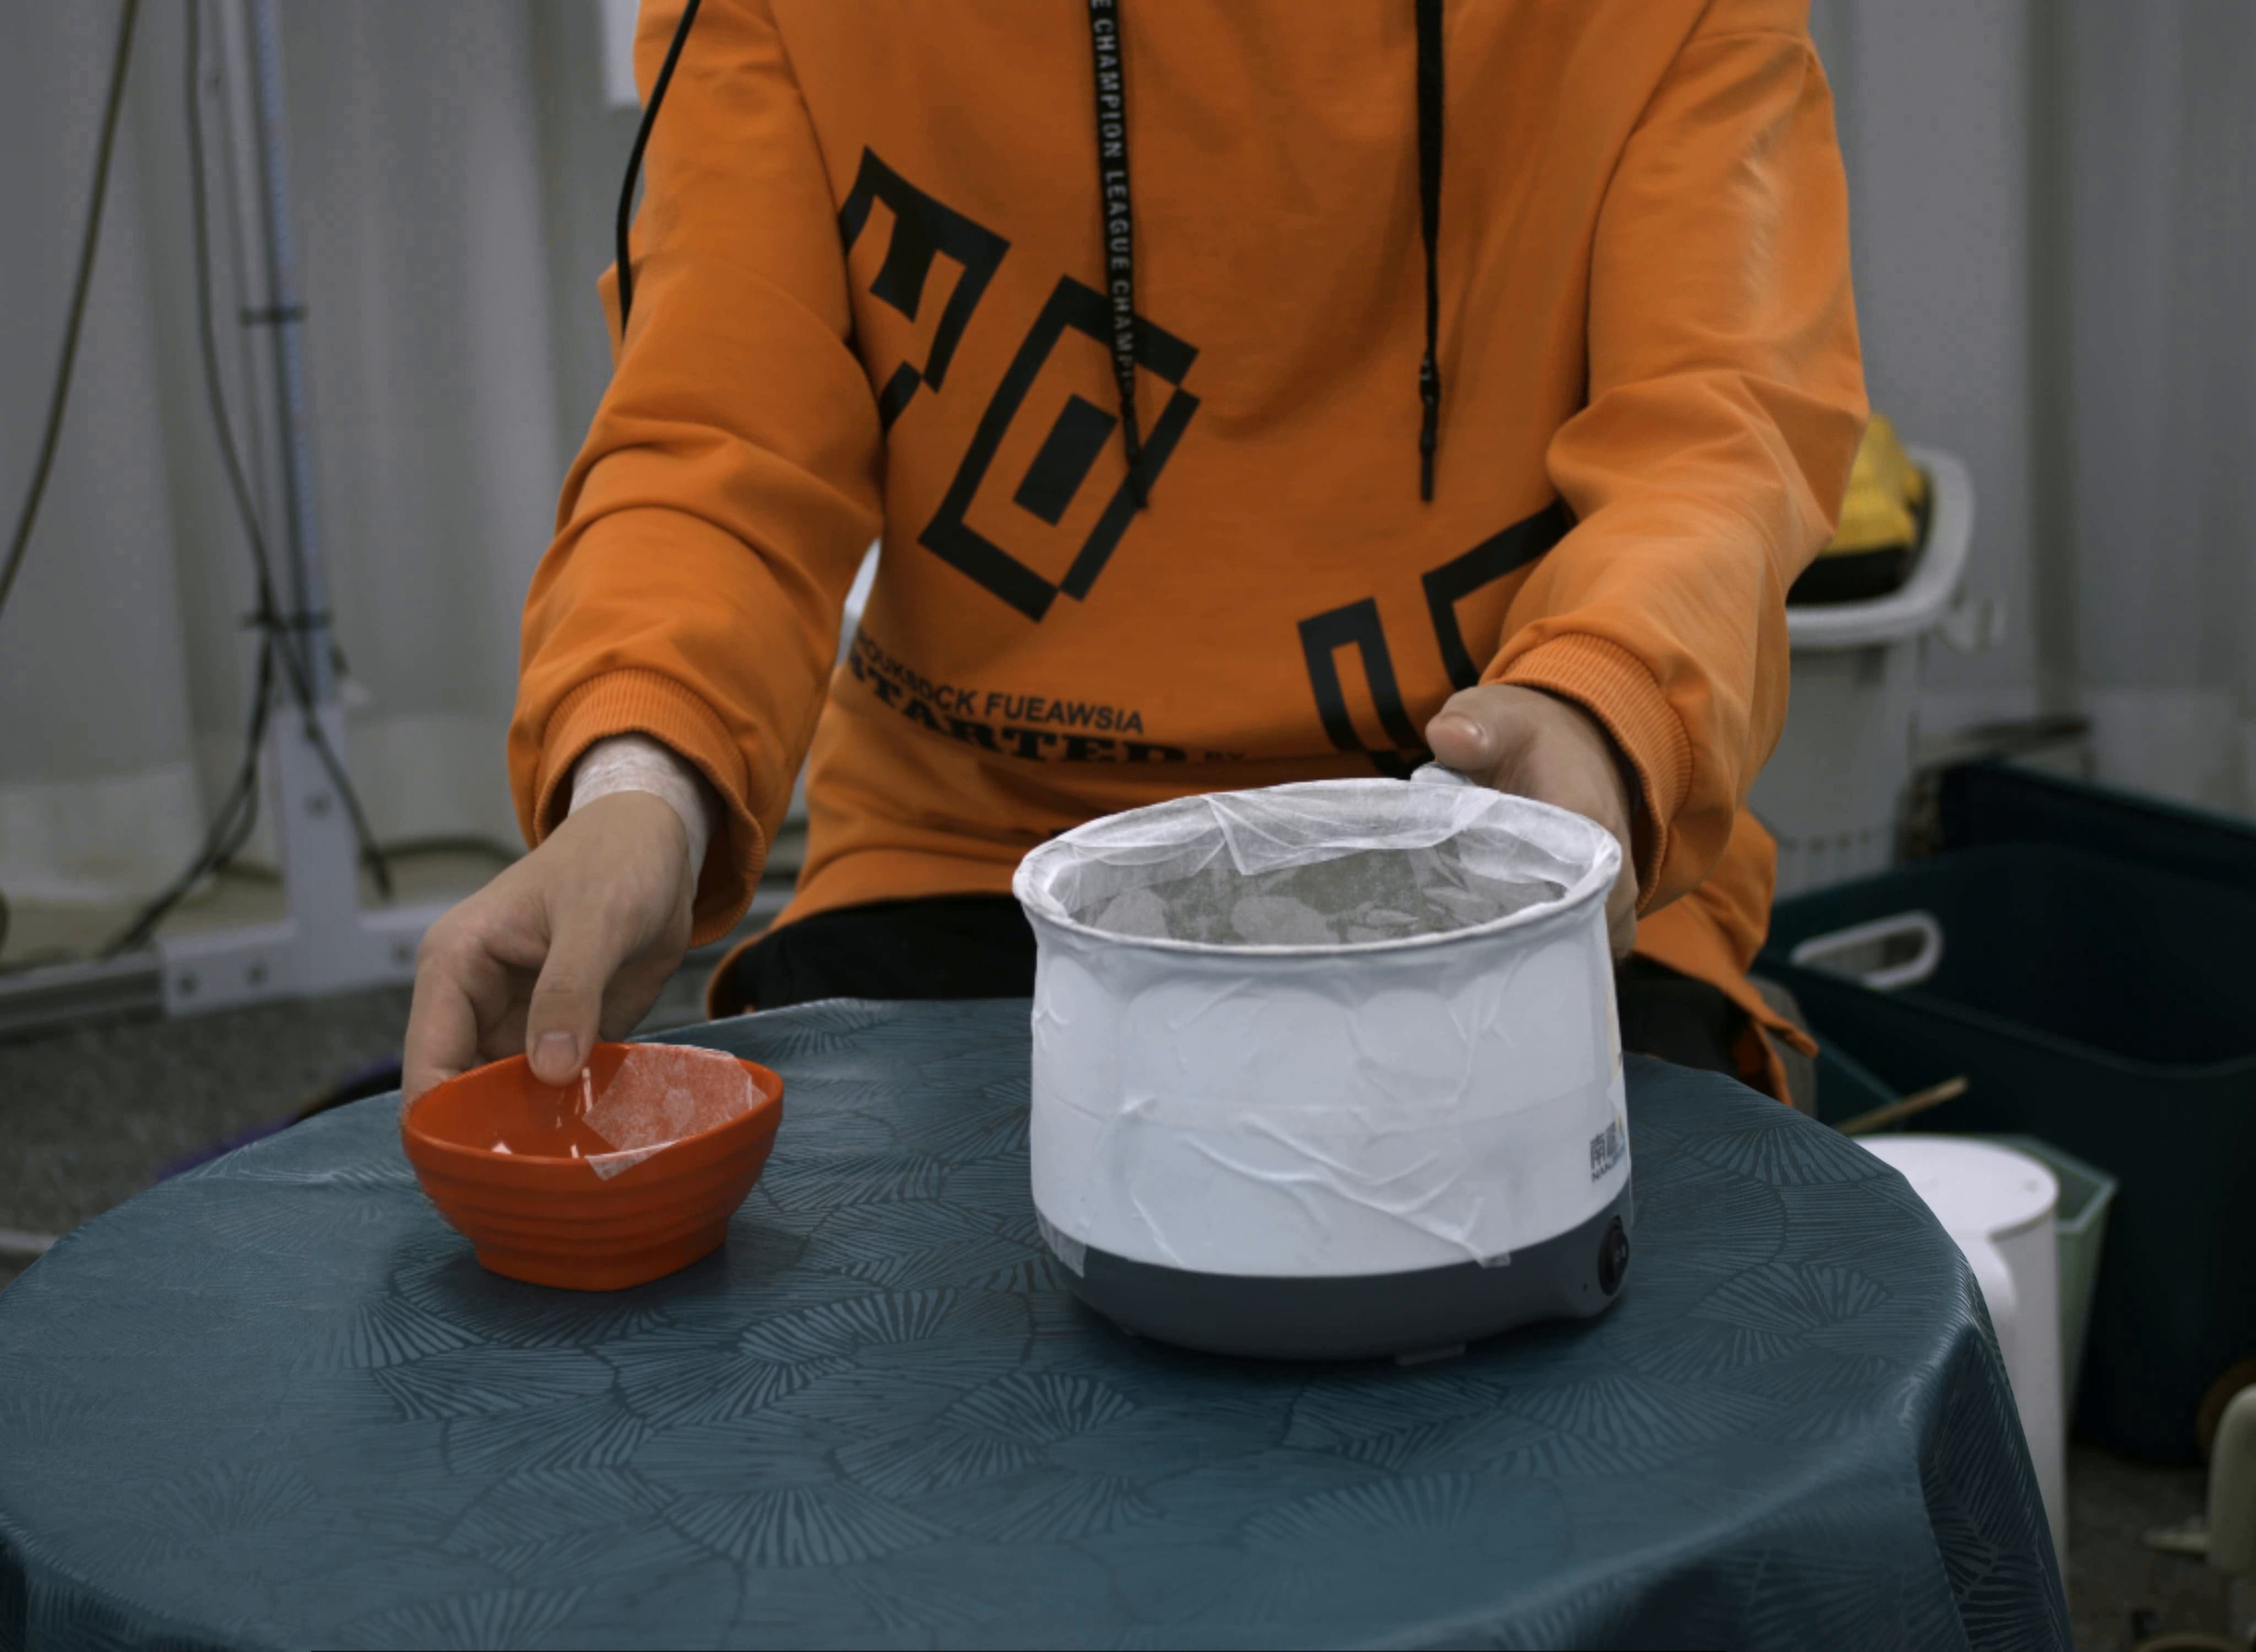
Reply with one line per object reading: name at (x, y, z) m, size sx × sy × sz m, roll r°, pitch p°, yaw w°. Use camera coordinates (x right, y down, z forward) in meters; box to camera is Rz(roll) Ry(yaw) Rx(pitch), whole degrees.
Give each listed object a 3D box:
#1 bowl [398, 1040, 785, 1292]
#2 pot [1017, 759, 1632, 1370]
bowl at (-0.162, 0.107, 1.679) m, size 0.118 × 0.051 × 0.120 m, roll -4°, pitch 15°, yaw 1°
pot at (0.069, 0.064, 1.626) m, size 0.179 × 0.136 × 0.234 m, roll 4°, pitch 16°, yaw 22°
